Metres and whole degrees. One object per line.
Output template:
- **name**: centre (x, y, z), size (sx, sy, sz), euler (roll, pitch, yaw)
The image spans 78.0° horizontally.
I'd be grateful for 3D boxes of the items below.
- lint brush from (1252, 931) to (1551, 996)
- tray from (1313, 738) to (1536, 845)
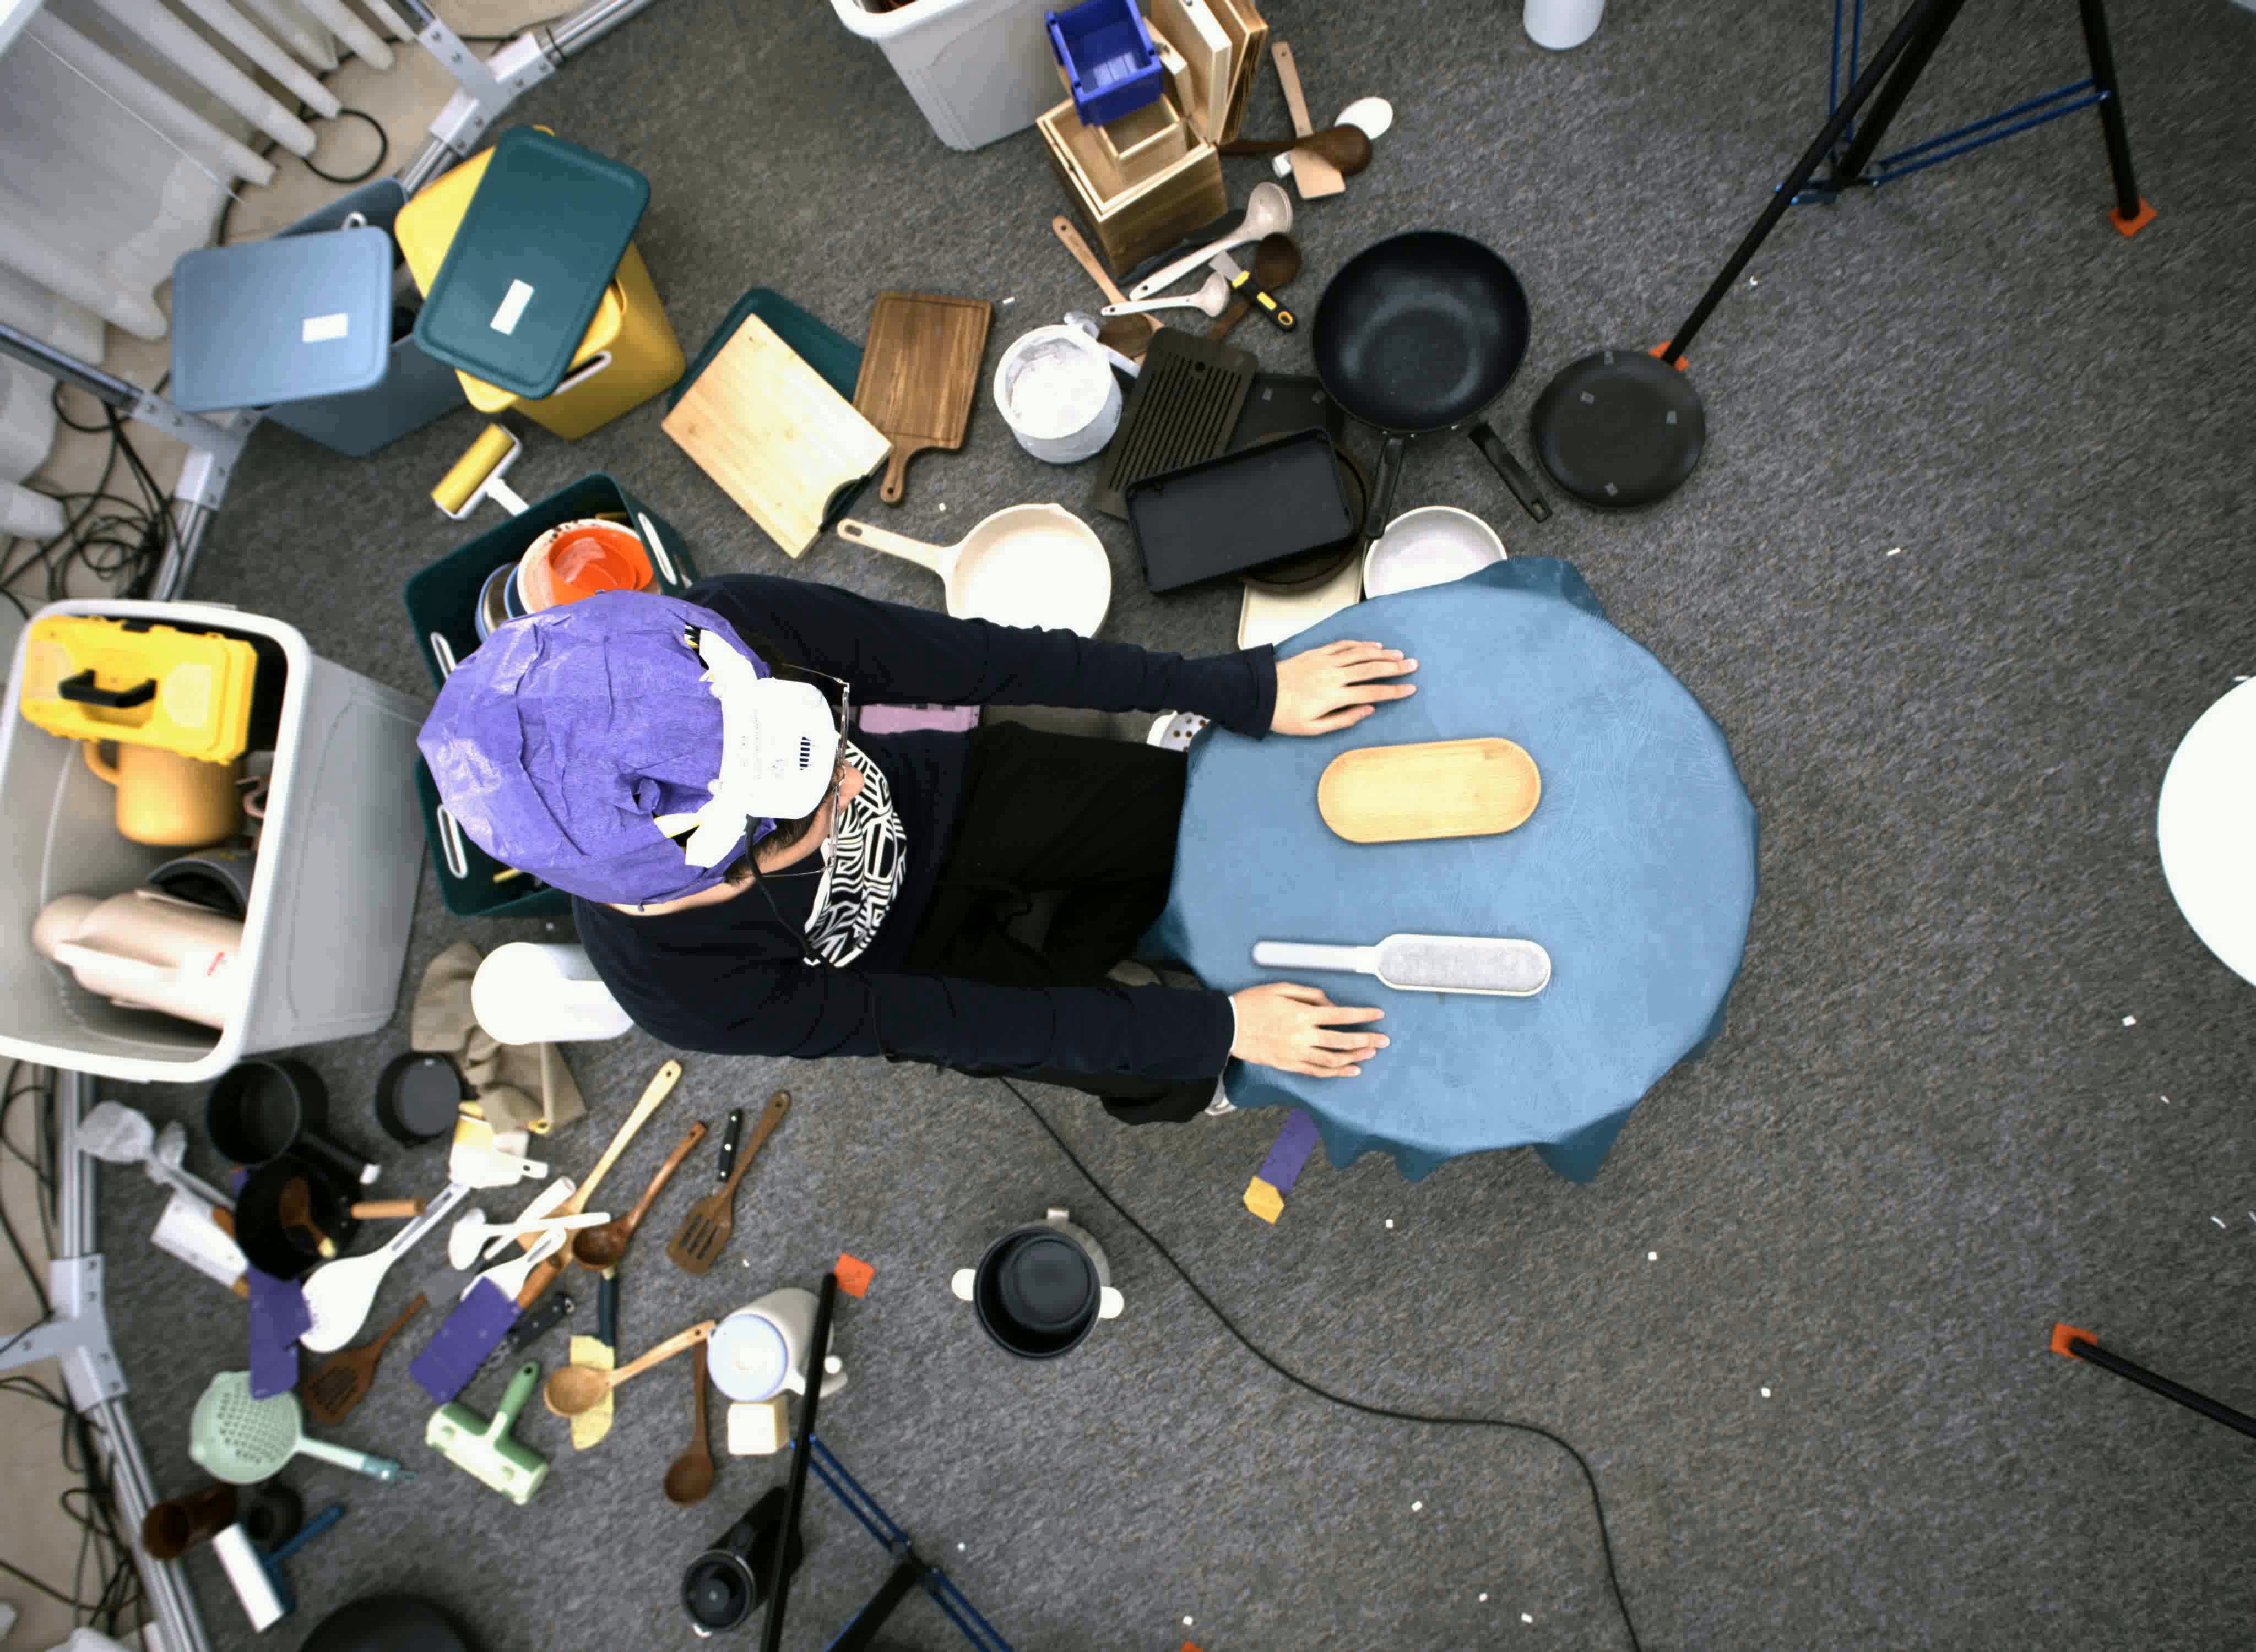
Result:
- **lint brush**: centre (0.283, 0.138, 1.440), size (0.310, 0.021, 0.060), euler (2, 92, 11)
- **tray**: centre (0.312, -0.037, 1.450), size (0.232, 0.020, 0.101), euler (-6, 84, 12)
